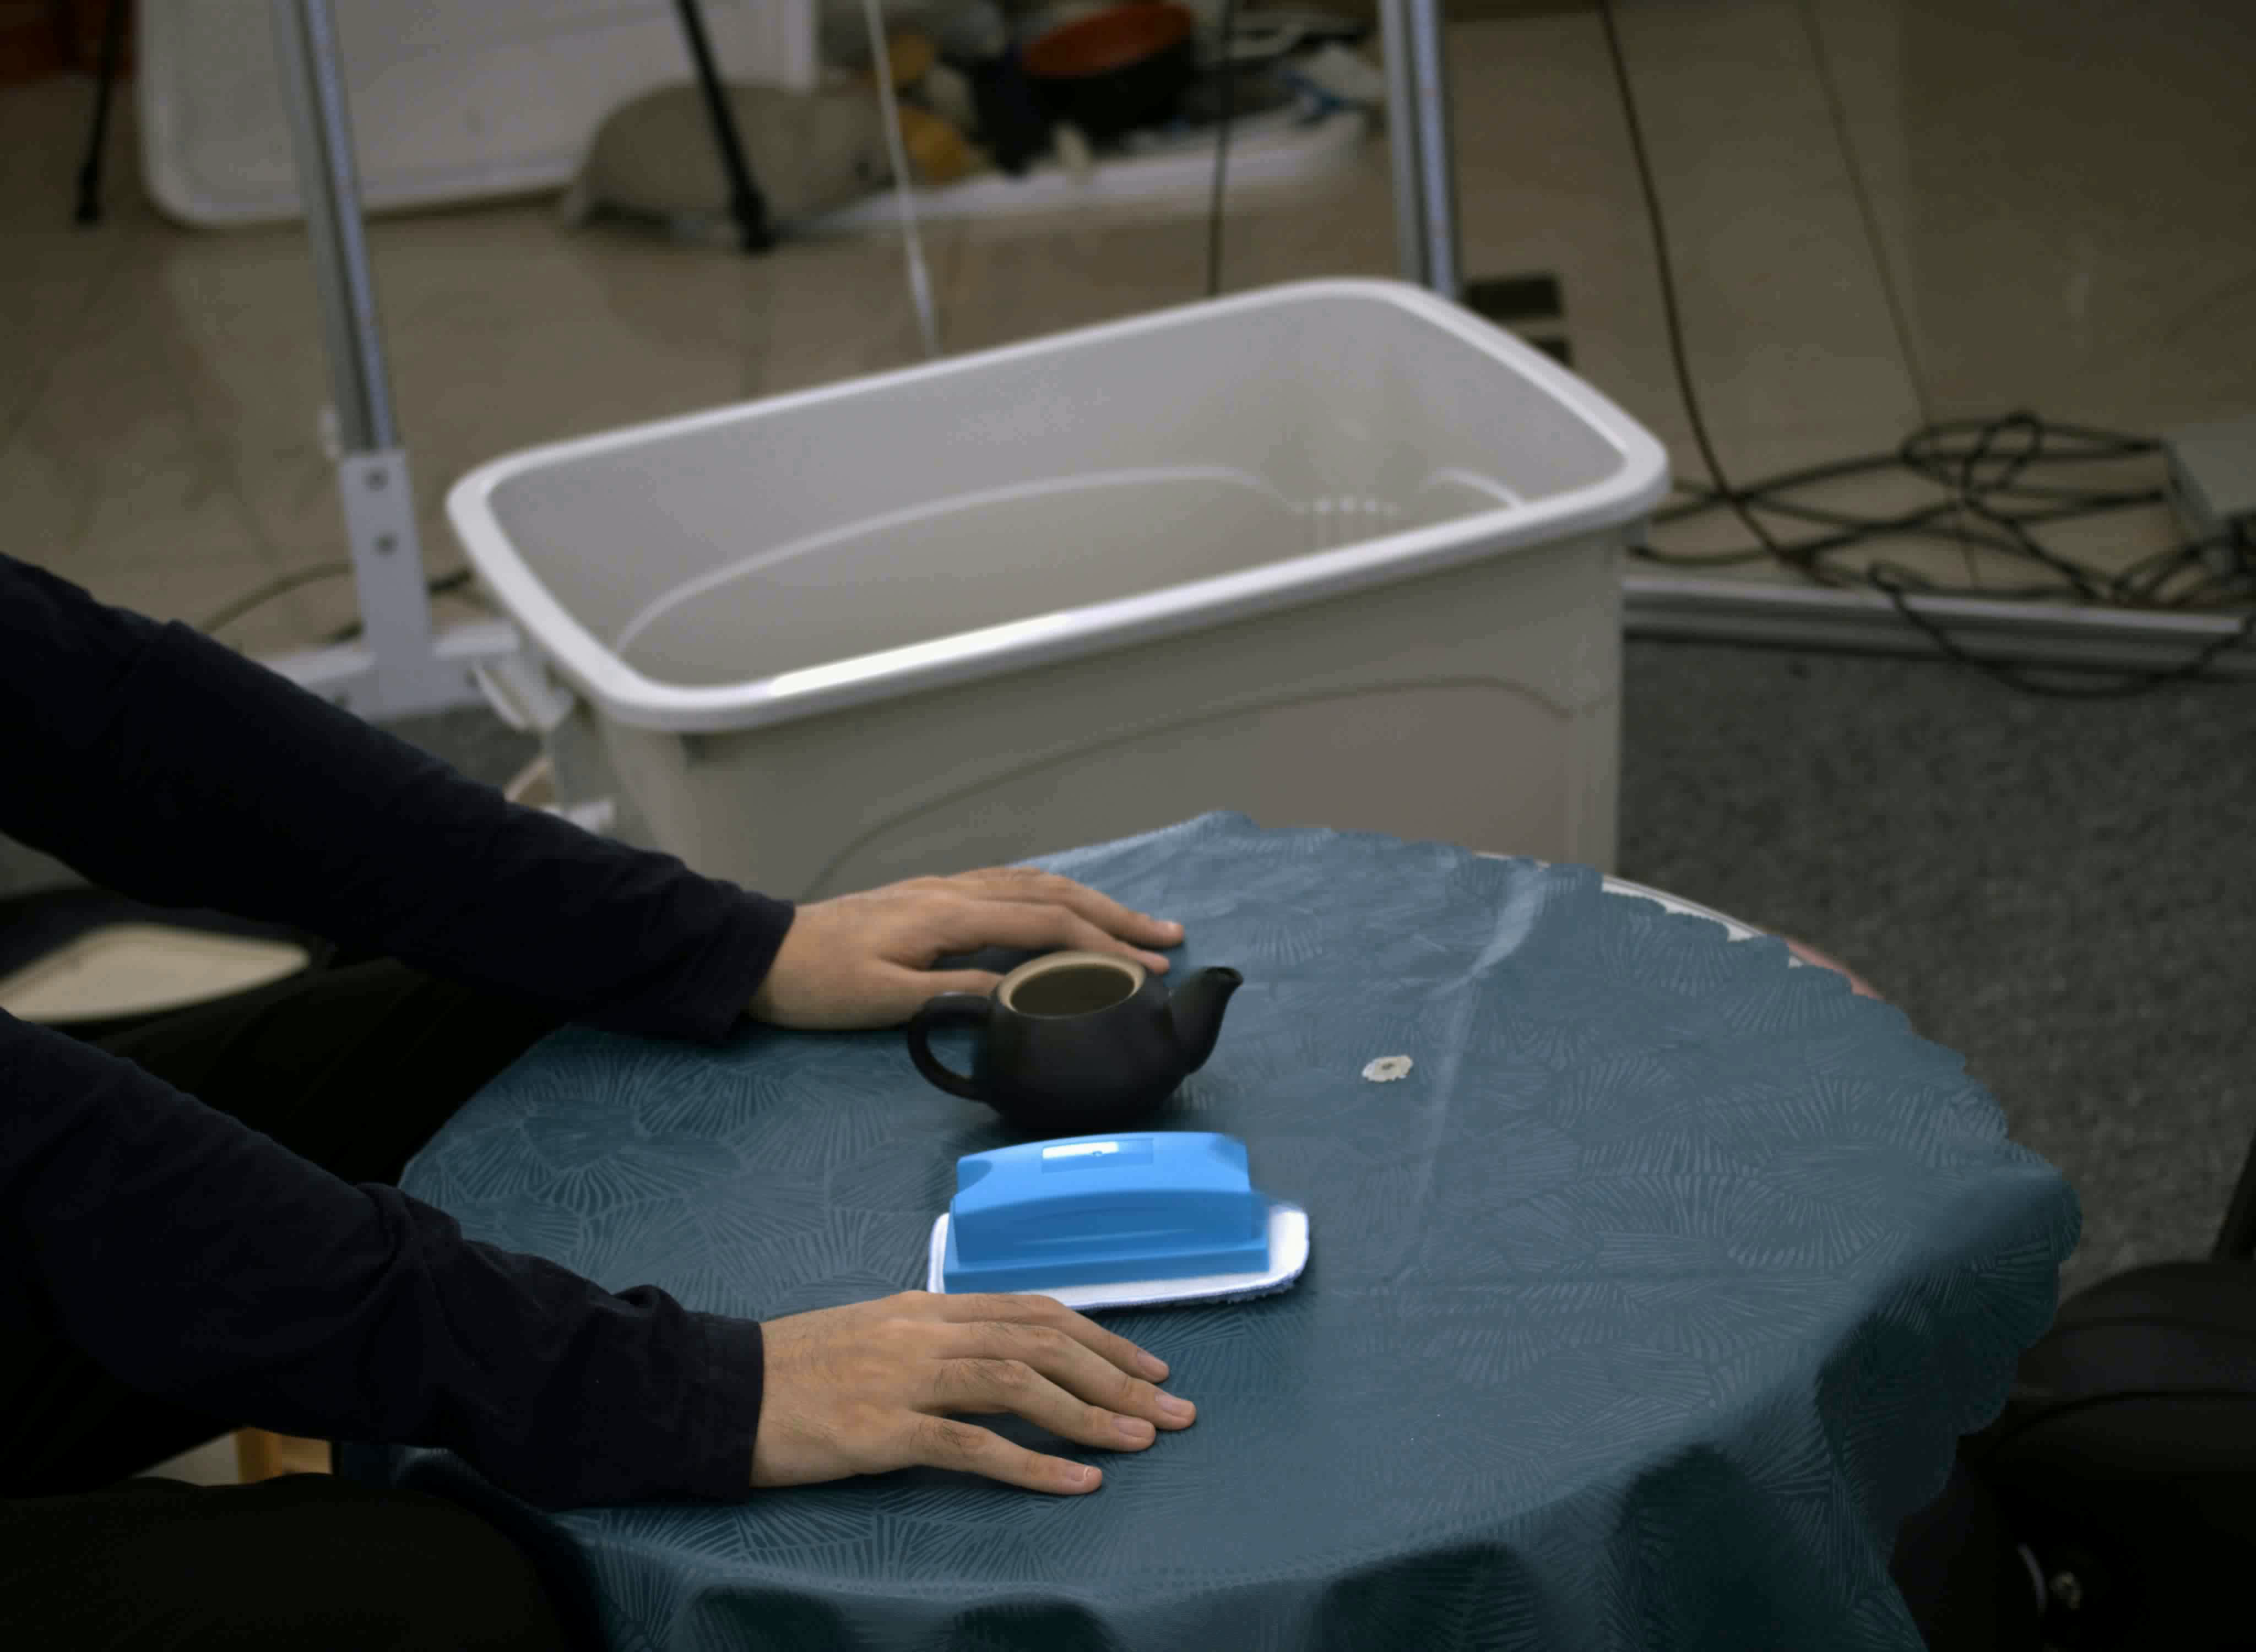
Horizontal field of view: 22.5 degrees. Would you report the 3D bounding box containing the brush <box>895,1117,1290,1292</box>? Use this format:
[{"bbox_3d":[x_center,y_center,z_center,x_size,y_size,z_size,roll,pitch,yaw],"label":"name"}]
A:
[{"bbox_3d":[-0.013,0.137,2.080,0.144,0.057,0.083,-1,22,4],"label":"brush"}]

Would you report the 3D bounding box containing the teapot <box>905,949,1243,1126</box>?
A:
[{"bbox_3d":[-0.020,0.083,2.205,0.133,0.054,0.089,-4,24,3],"label":"teapot"}]
